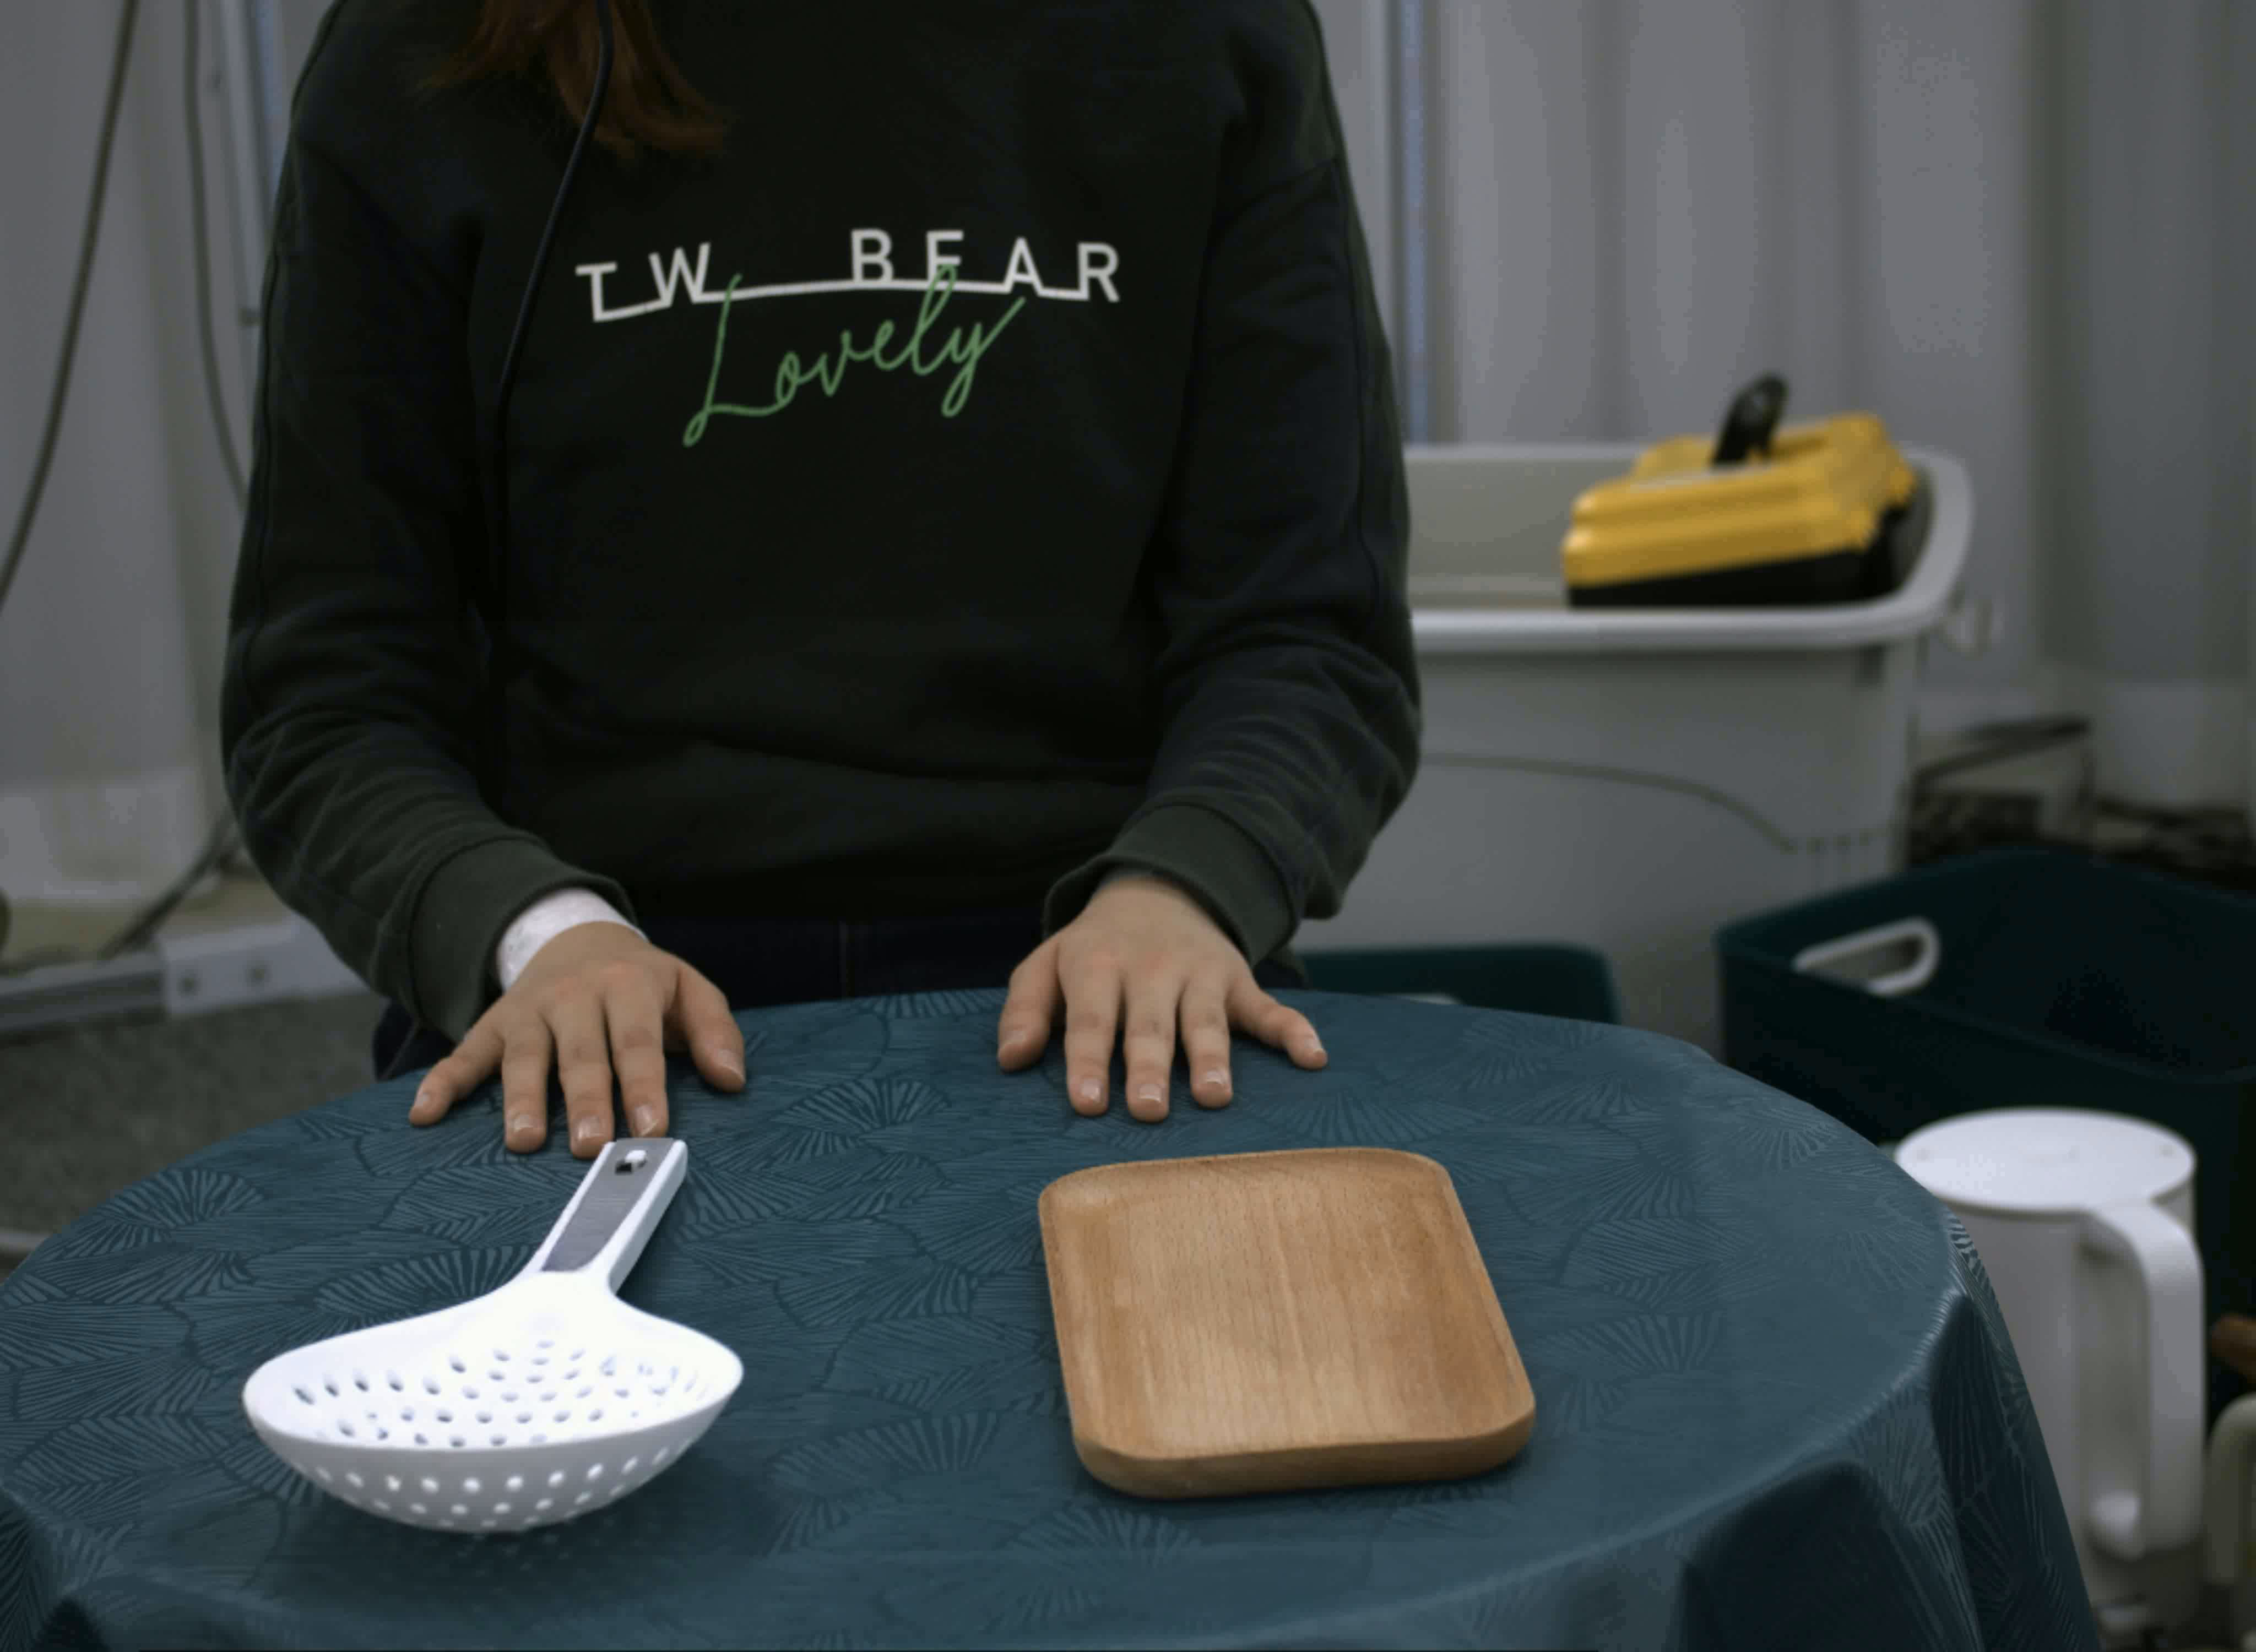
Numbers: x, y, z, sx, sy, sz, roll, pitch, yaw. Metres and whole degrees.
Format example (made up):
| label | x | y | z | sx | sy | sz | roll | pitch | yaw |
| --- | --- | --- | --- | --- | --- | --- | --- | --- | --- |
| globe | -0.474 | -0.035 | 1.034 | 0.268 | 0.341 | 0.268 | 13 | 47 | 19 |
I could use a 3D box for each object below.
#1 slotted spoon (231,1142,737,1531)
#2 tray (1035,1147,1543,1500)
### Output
| label | x | y | z | sx | sy | sz | roll | pitch | yaw |
| --- | --- | --- | --- | --- | --- | --- | --- | --- | --- |
| slotted spoon | -0.165 | 0.137 | 1.573 | 0.135 | 0.045 | 0.352 | 1 | 14 | 4 |
| tray | 0.042 | 0.141 | 1.578 | 0.130 | 0.023 | 0.252 | -2 | 14 | -3 |
